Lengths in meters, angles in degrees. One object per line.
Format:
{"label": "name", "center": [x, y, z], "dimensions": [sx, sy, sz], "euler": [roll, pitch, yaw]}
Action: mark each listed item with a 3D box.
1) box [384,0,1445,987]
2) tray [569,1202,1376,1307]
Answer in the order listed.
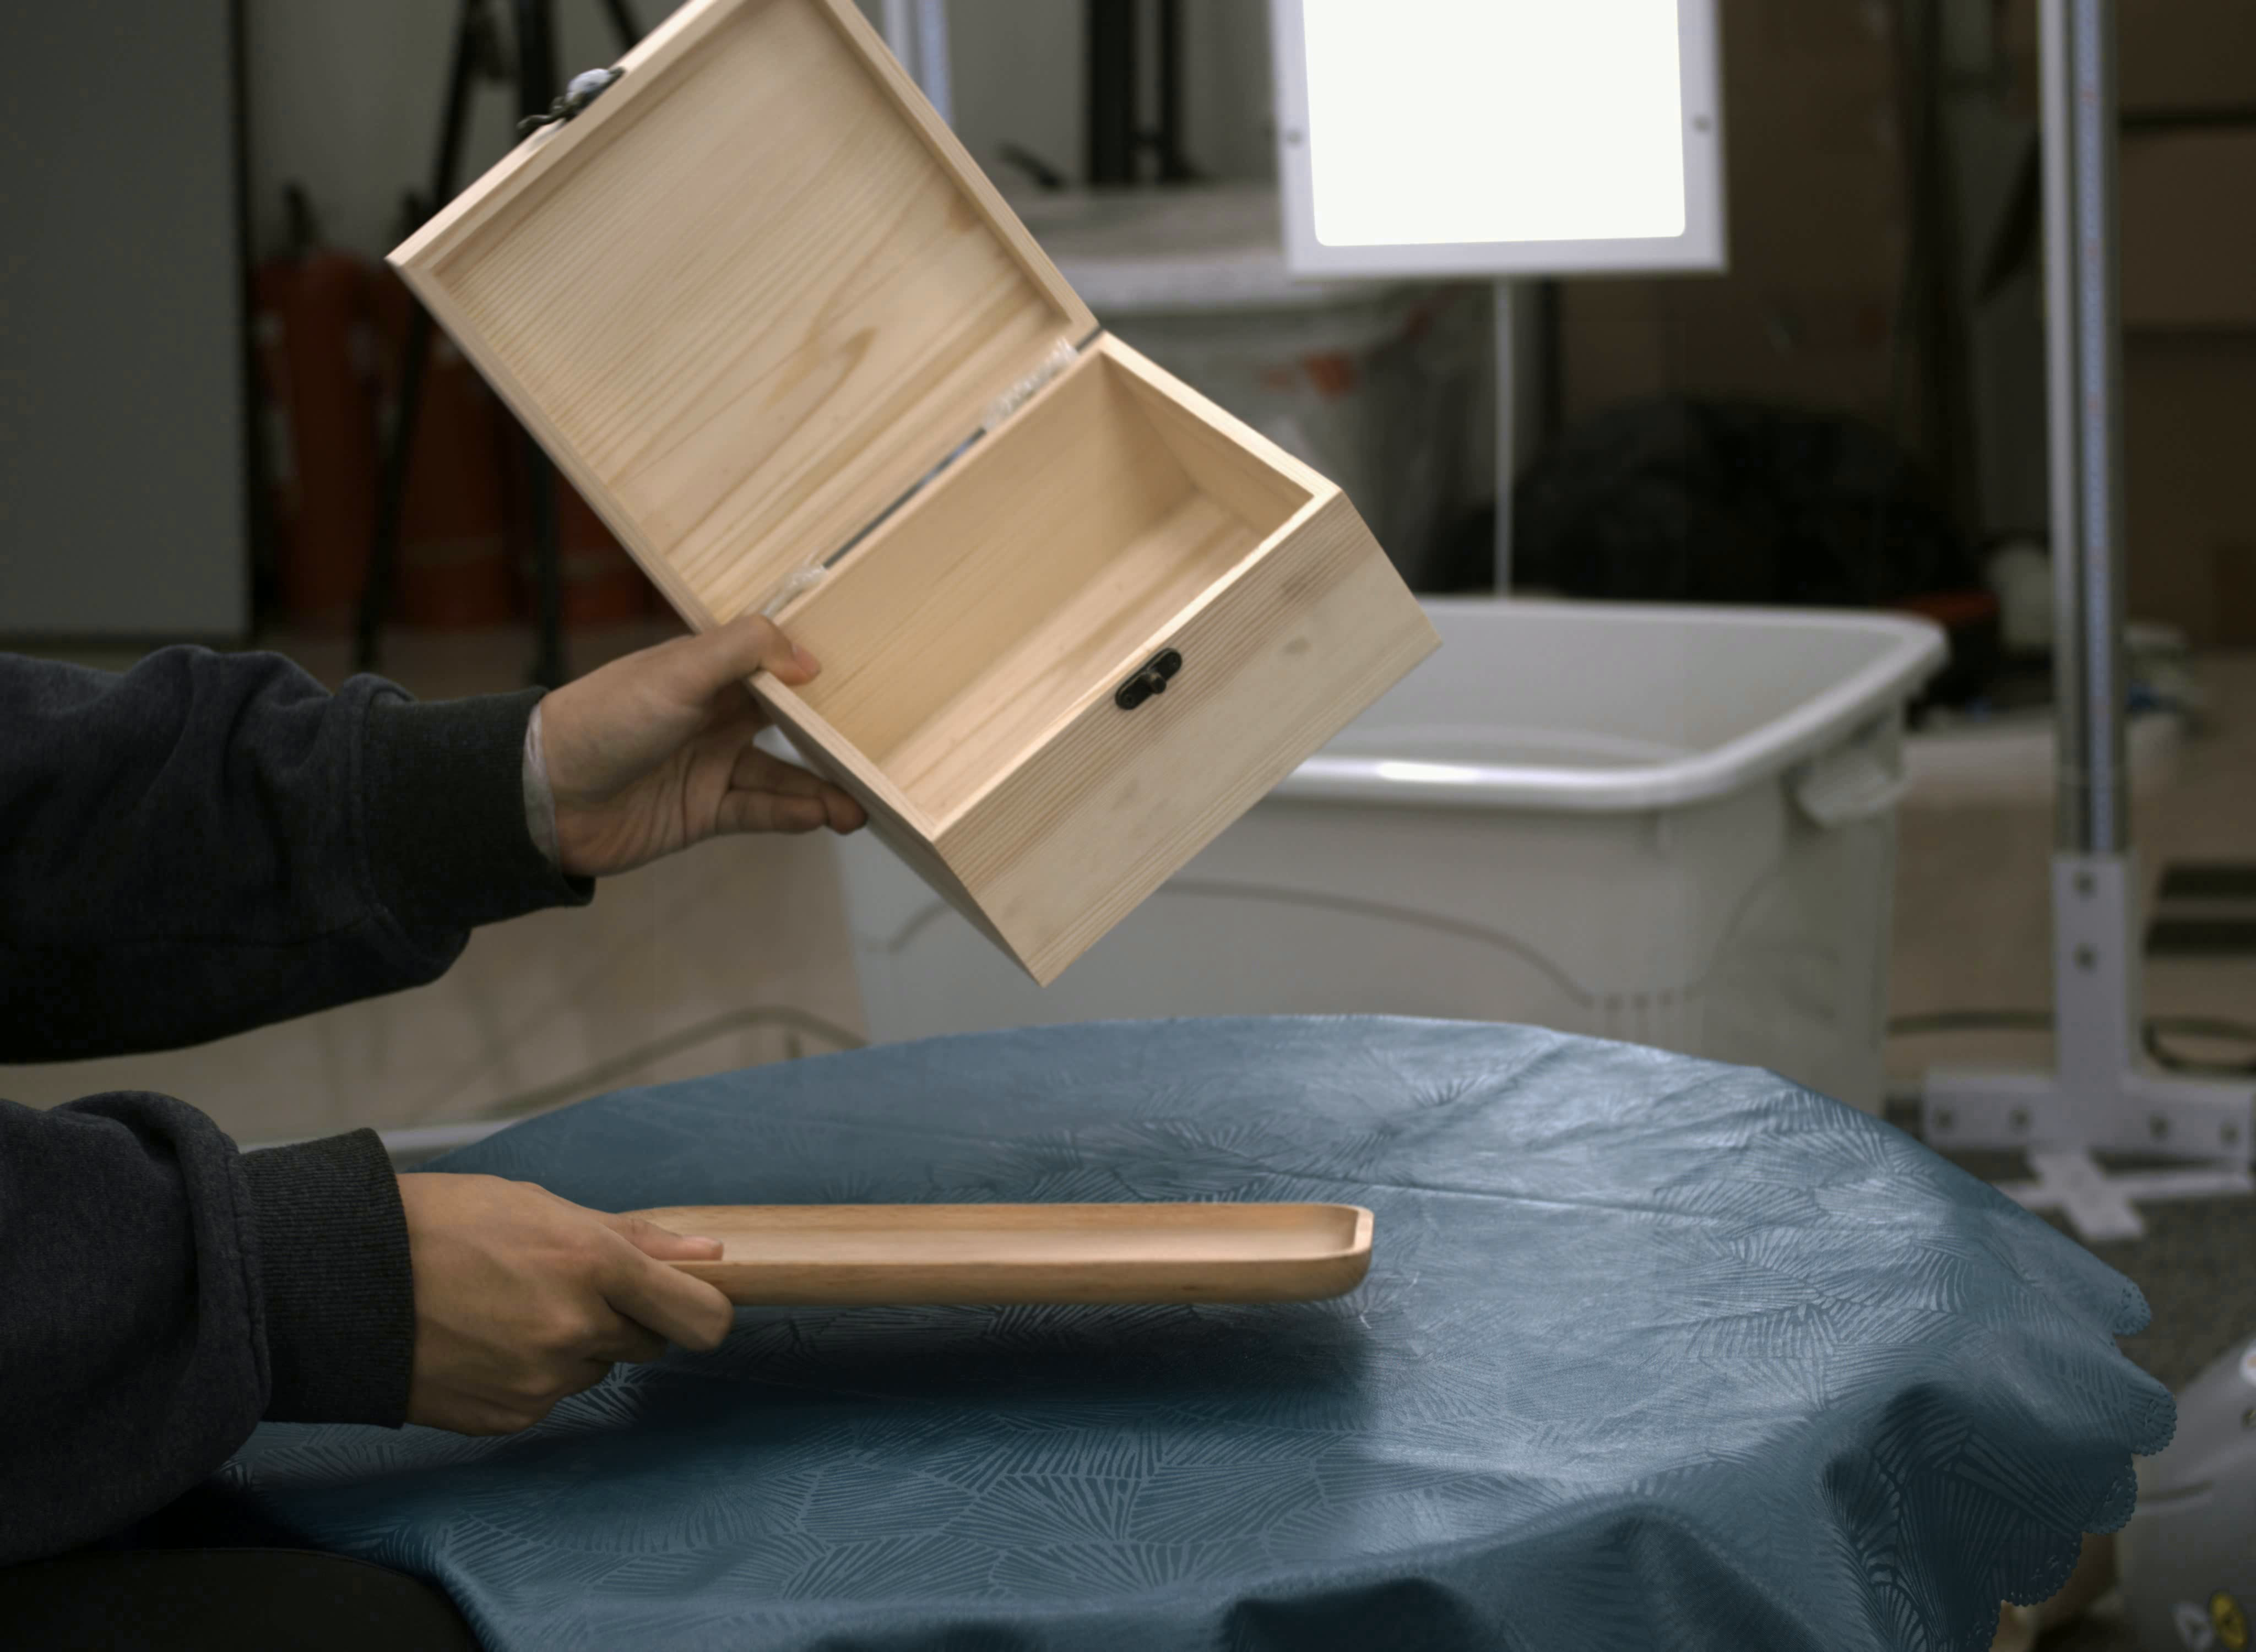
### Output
{"label": "box", "center": [-0.076, -0.129, 1.880], "dimensions": [0.181, 0.250, 0.269], "euler": [-43, 32, -5]}
{"label": "tray", "center": [-0.047, 0.135, 1.738], "dimensions": [0.251, 0.023, 0.130], "euler": [-1, 1, 6]}
